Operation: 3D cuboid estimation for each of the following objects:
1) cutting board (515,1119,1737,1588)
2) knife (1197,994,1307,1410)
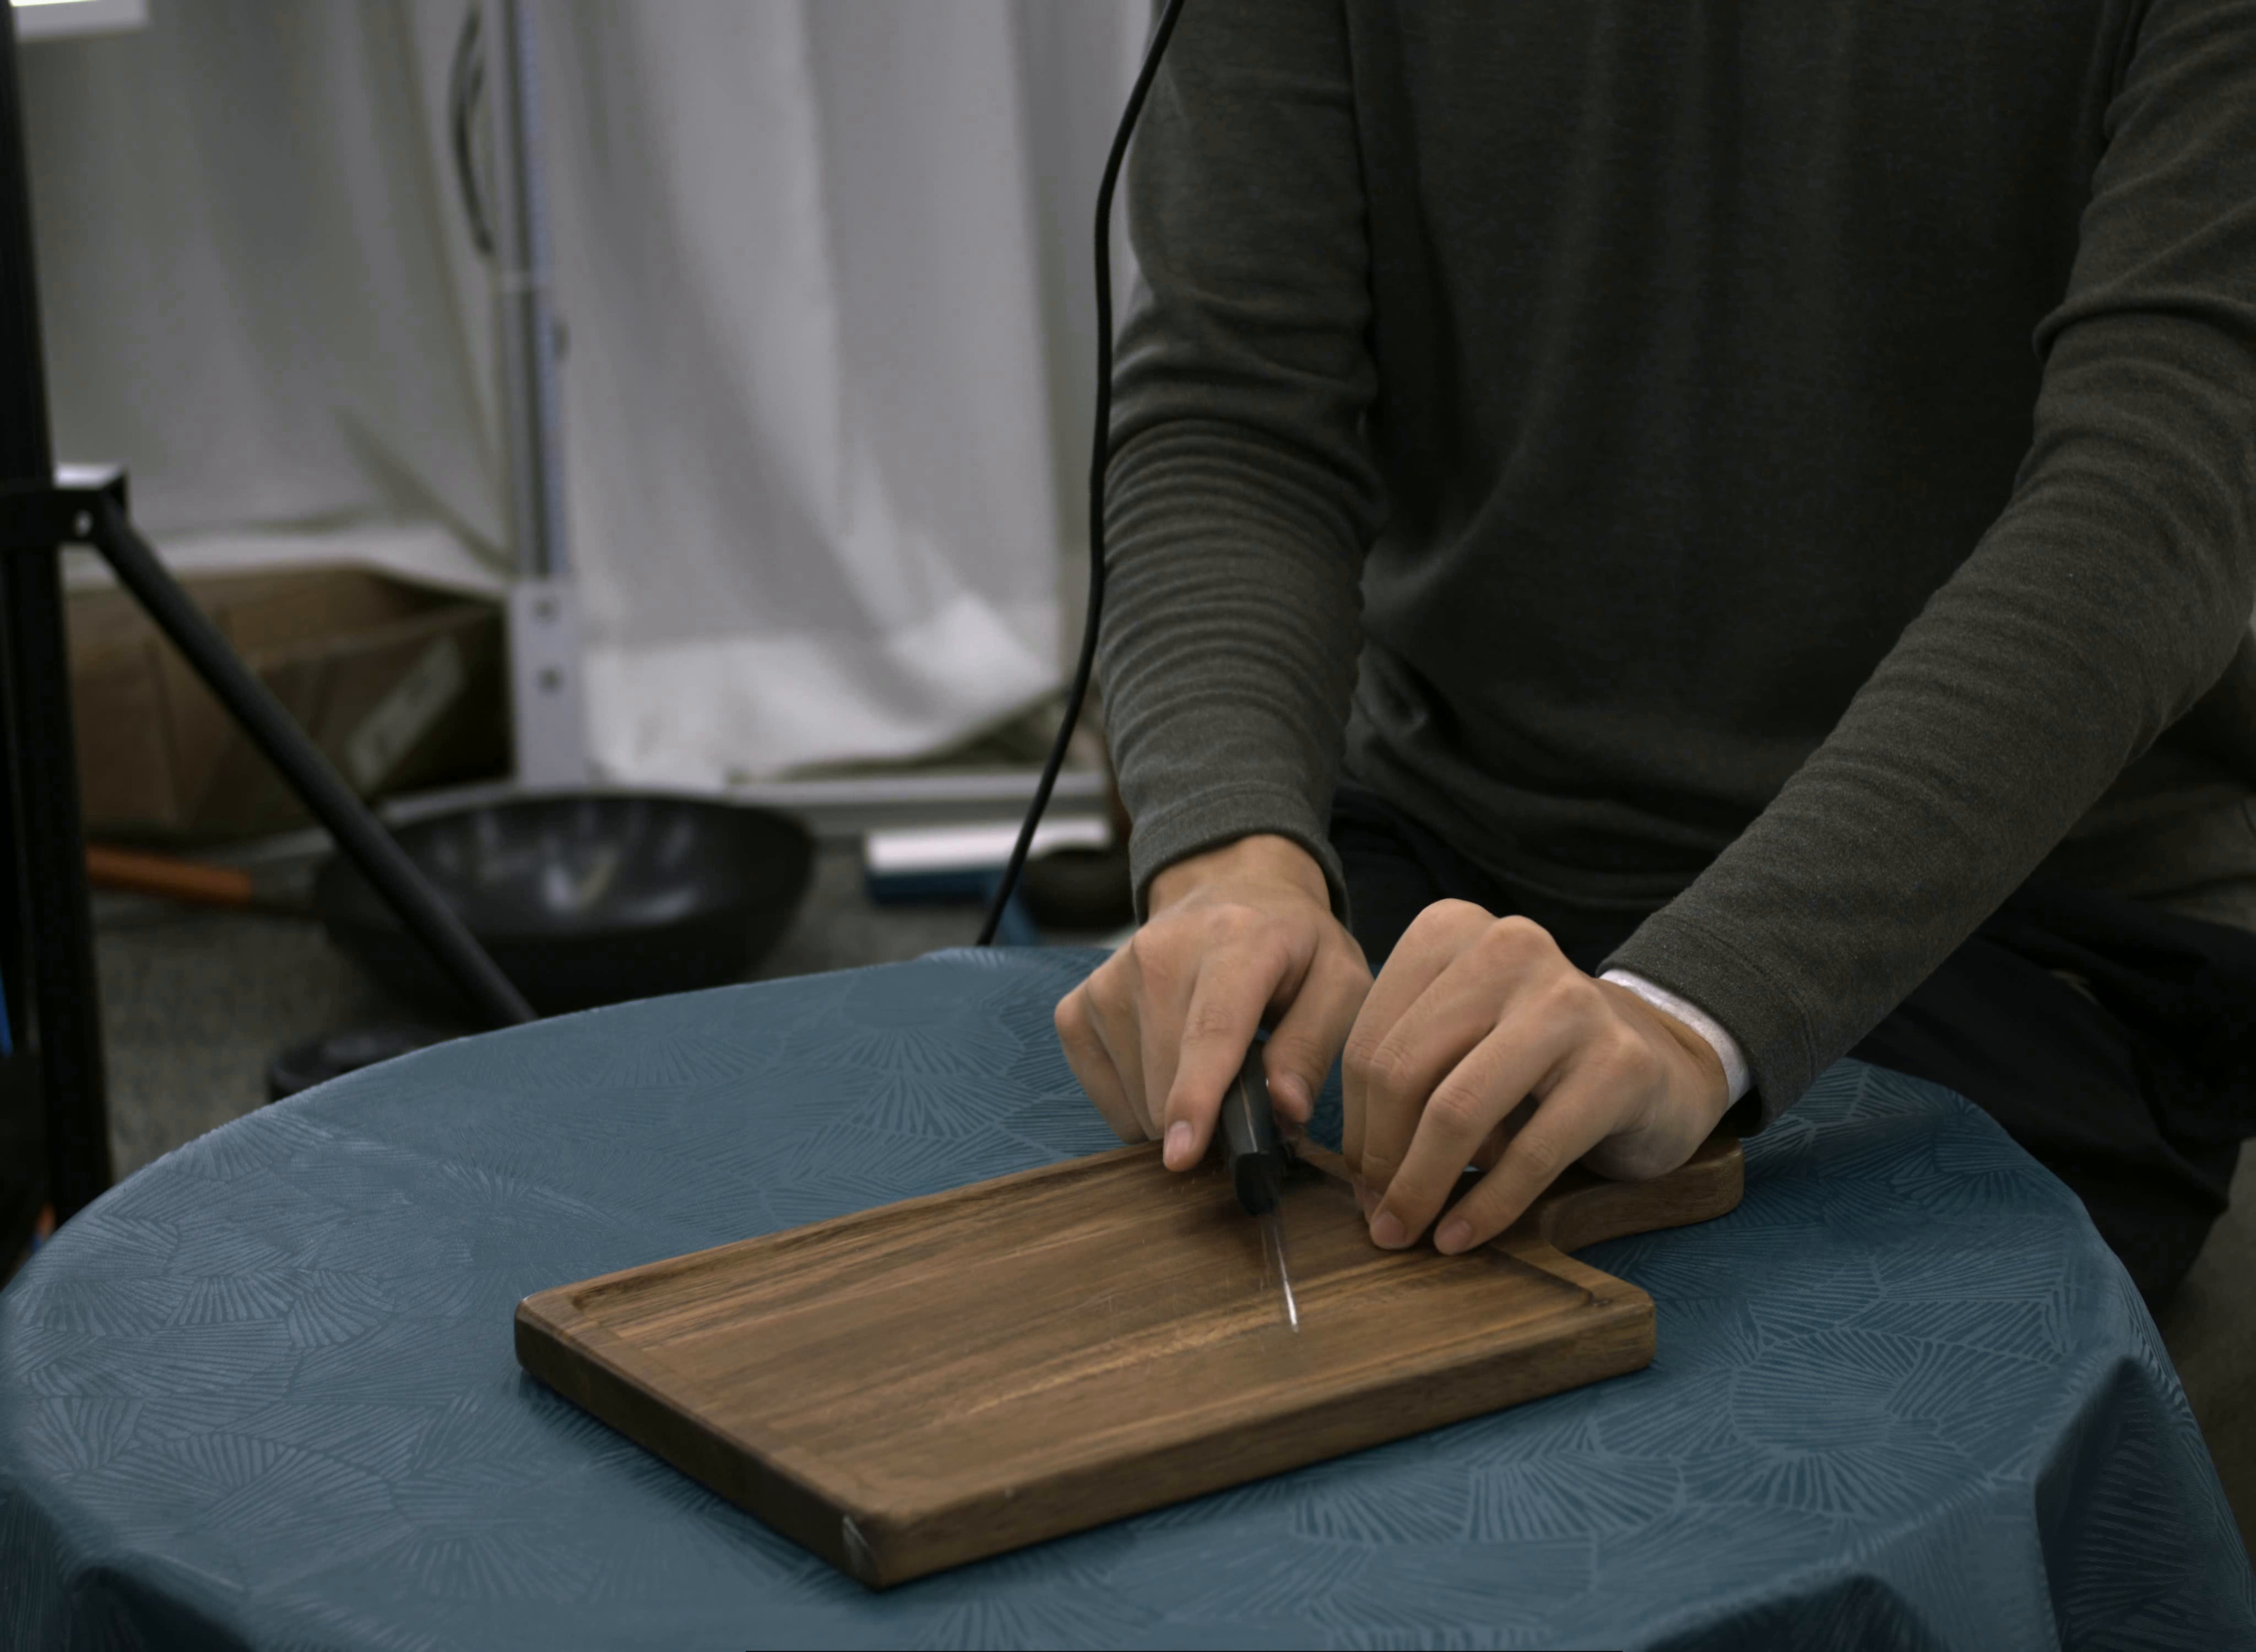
[{"bbox_3d":[0.030,0.127,1.451,0.344,0.023,0.205,-12,19,-31],"label":"cutting board"},{"bbox_3d":[0.036,0.099,1.458,0.016,0.024,0.240,-5,23,-3],"label":"knife"}]
